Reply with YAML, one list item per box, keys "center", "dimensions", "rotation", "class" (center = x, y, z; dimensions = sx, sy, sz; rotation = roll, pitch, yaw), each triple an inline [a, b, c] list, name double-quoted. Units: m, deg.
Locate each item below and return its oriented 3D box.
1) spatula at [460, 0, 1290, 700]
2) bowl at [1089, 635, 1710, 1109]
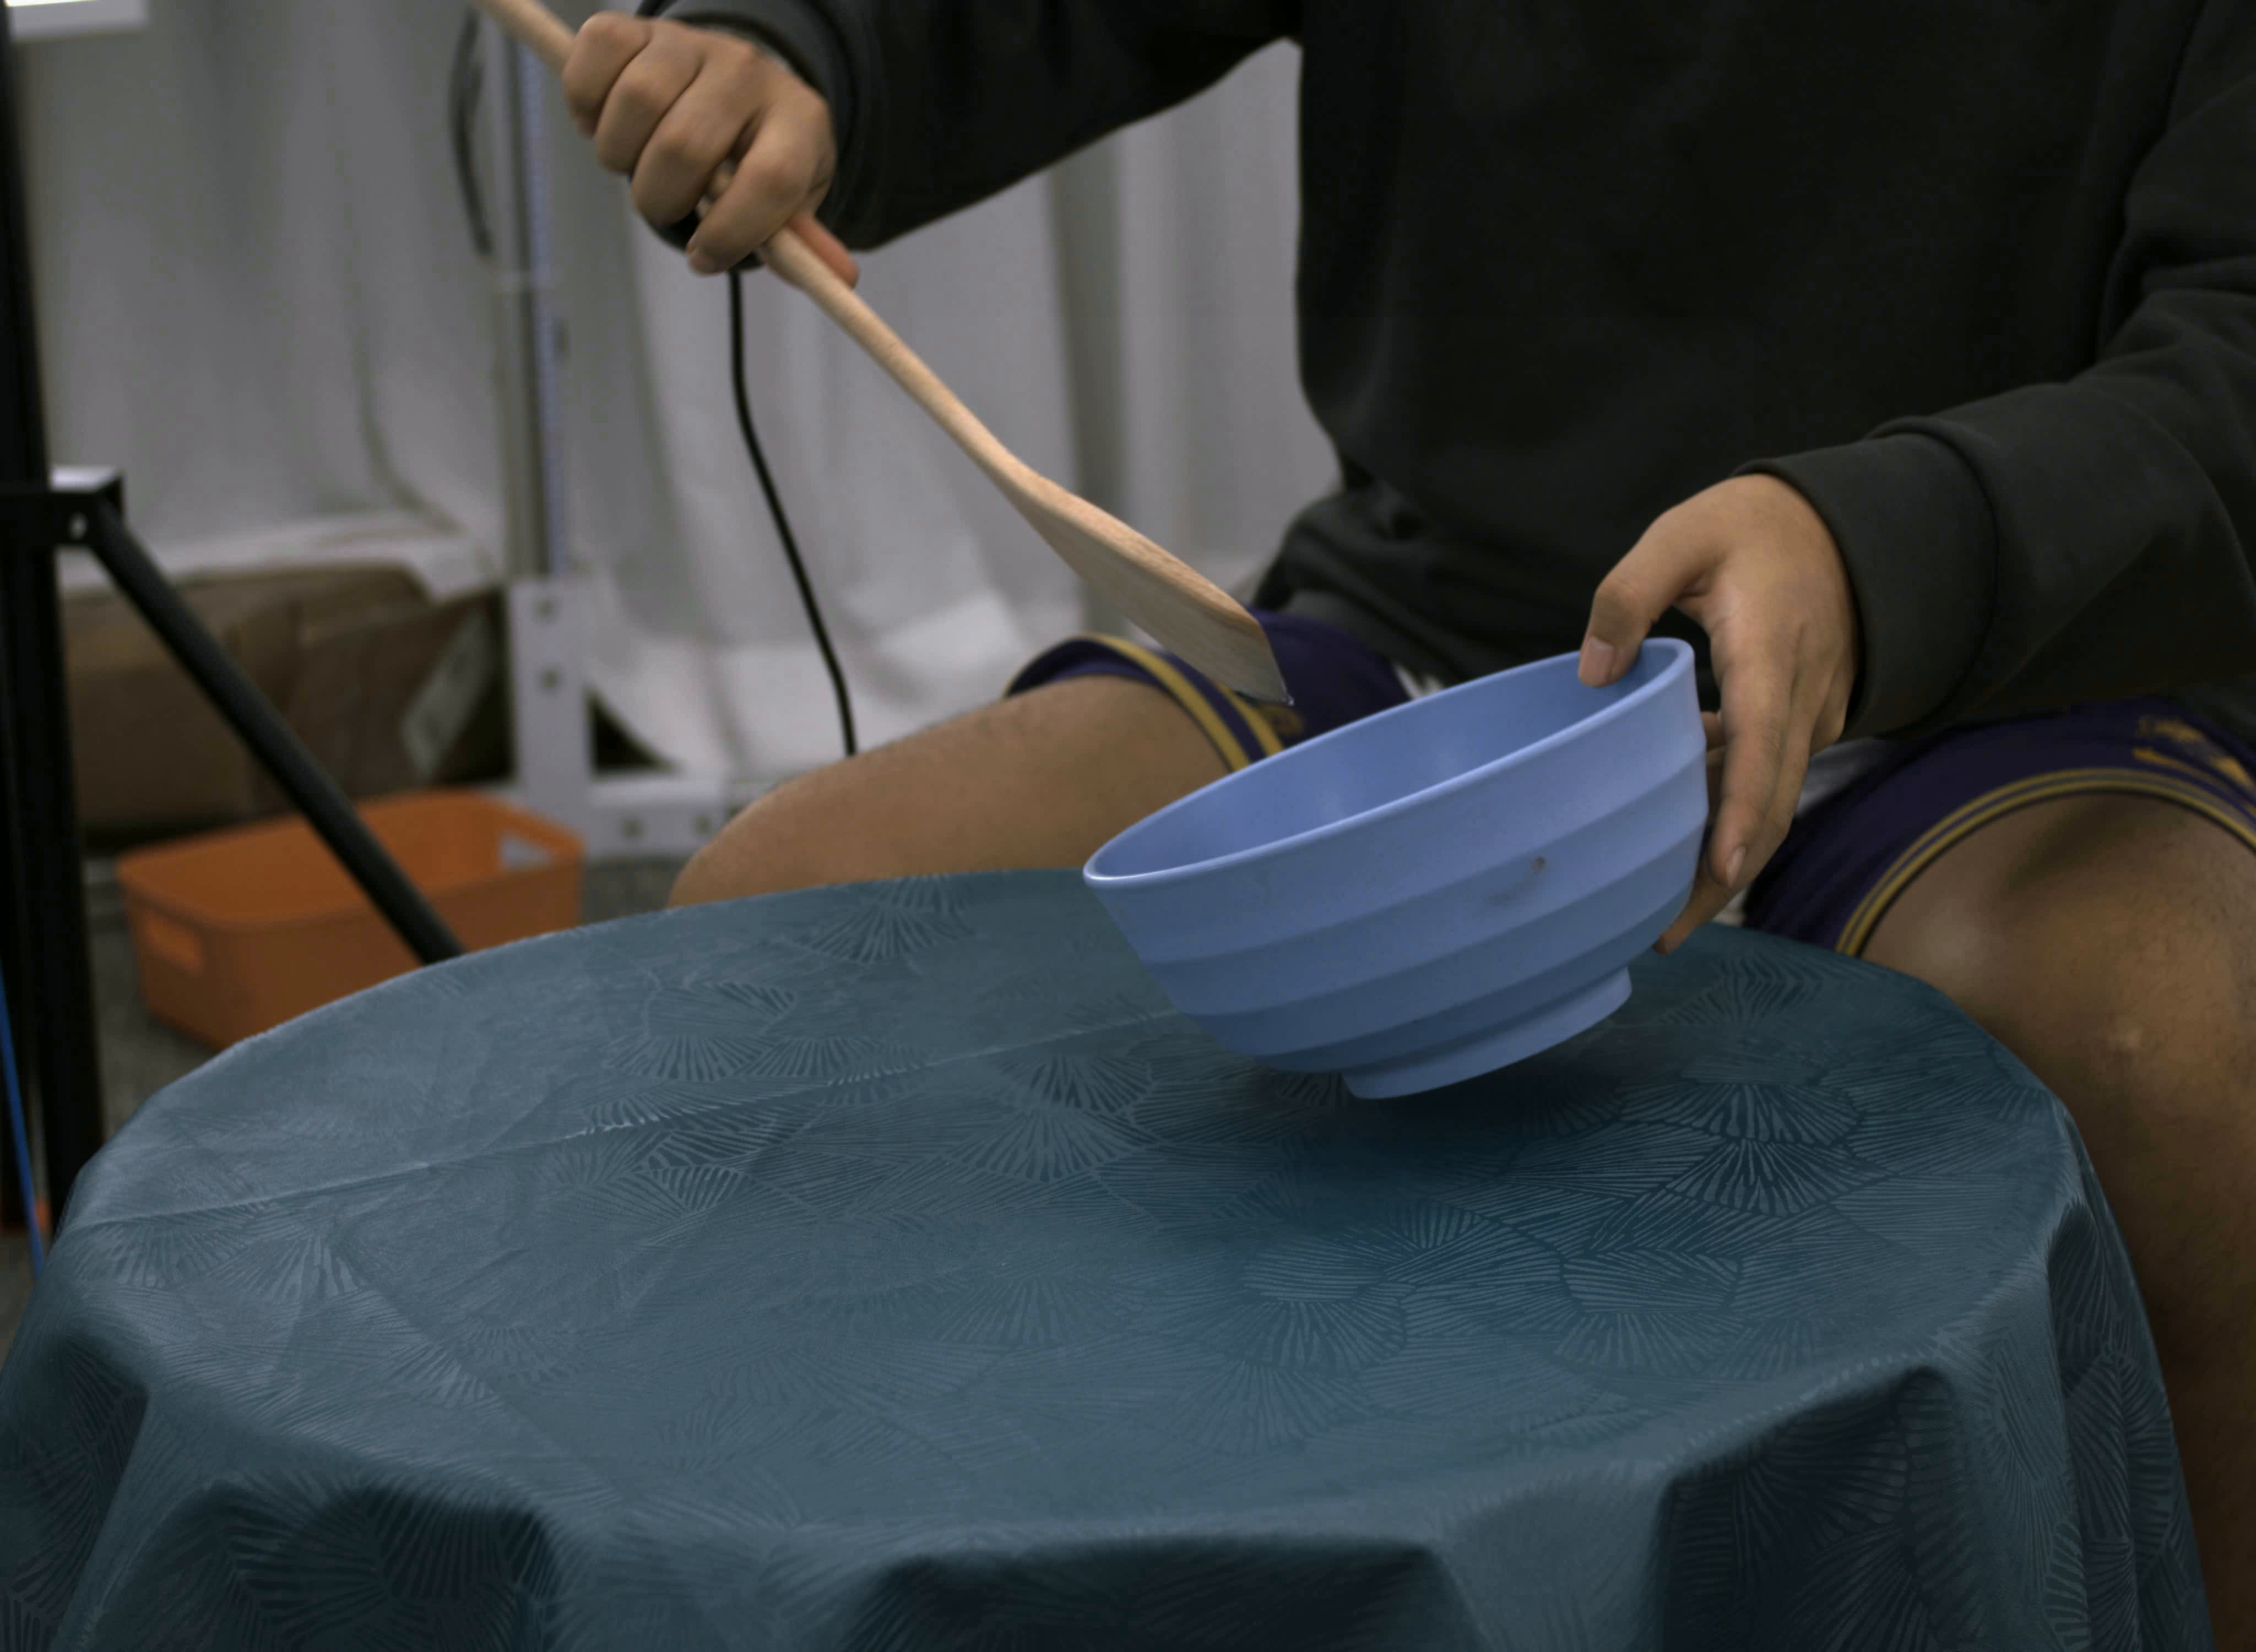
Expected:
- center: [-0.096, -0.166, 1.627]
  dimensions: [0.395, 0.018, 0.095]
  rotation: [43, -8, 17]
  class: "spatula"
- center: [0.095, 0.024, 1.611]
  dimensions: [0.196, 0.095, 0.197]
  rotation: [-23, 8, 2]
  class: "bowl"
